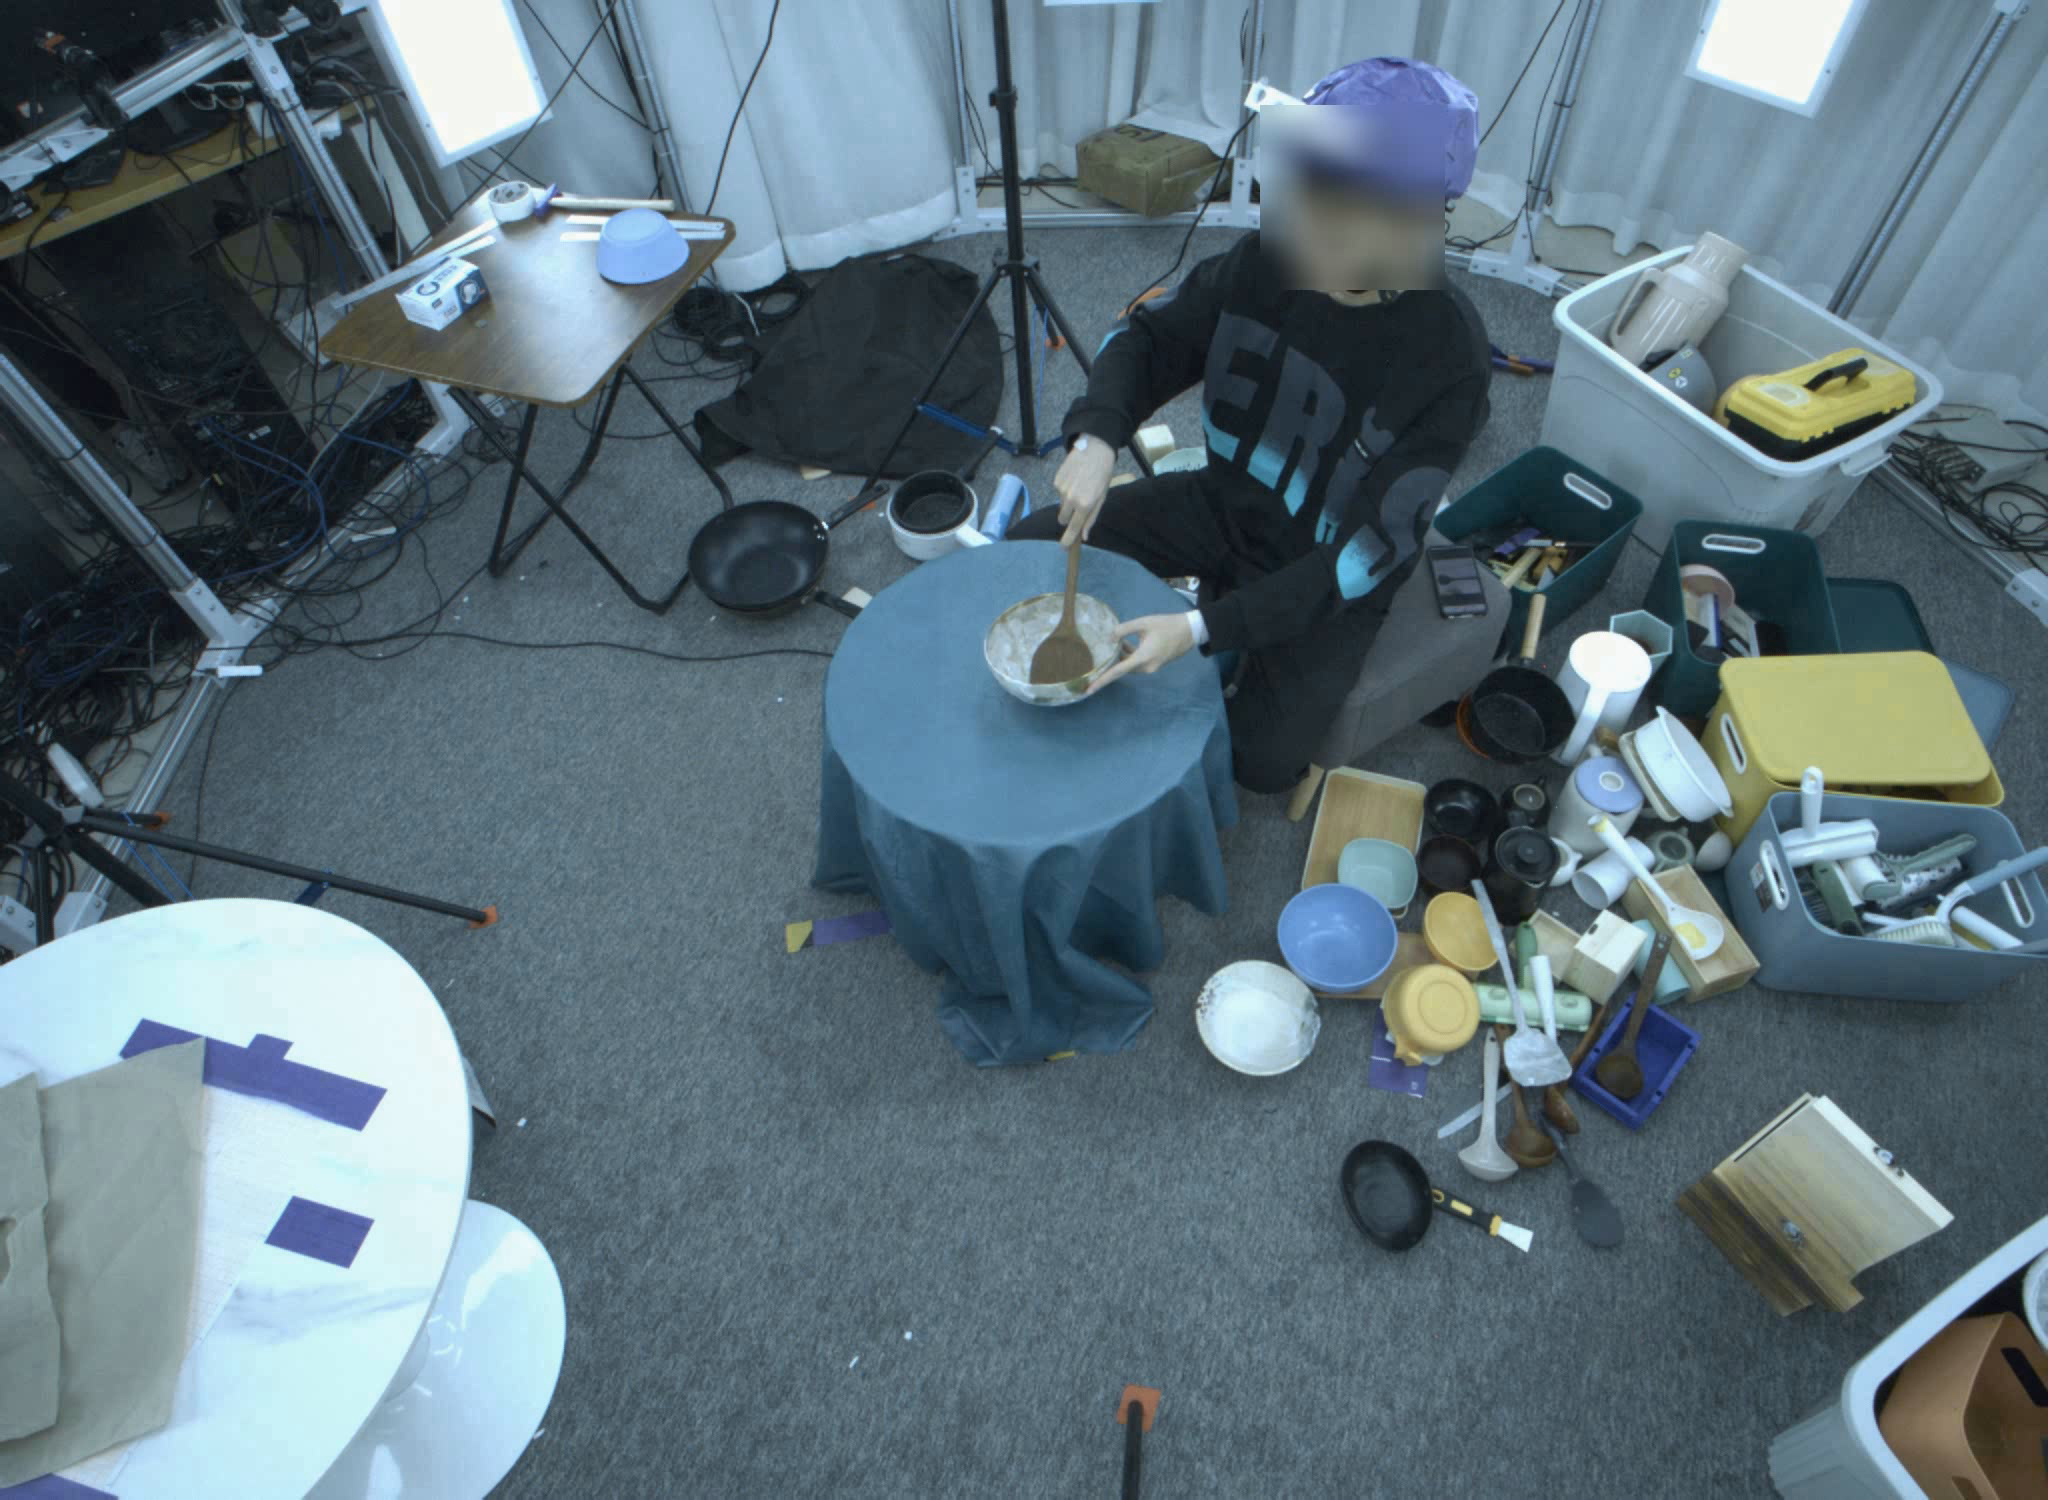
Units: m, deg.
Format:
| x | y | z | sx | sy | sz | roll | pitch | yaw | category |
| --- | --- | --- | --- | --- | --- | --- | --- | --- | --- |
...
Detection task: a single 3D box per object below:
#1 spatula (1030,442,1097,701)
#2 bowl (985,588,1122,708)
| x | y | z | sx | sy | sz | roll | pitch | yaw | category |
| --- | --- | --- | --- | --- | --- | --- | --- | --- | --- |
| 0.073 | -0.264 | 1.802 | 0.096 | 0.016 | 0.386 | 6 | 93 | 5 | spatula |
| 0.055 | -0.137 | 1.812 | 0.213 | 0.096 | 0.212 | -9 | 52 | 12 | bowl |
